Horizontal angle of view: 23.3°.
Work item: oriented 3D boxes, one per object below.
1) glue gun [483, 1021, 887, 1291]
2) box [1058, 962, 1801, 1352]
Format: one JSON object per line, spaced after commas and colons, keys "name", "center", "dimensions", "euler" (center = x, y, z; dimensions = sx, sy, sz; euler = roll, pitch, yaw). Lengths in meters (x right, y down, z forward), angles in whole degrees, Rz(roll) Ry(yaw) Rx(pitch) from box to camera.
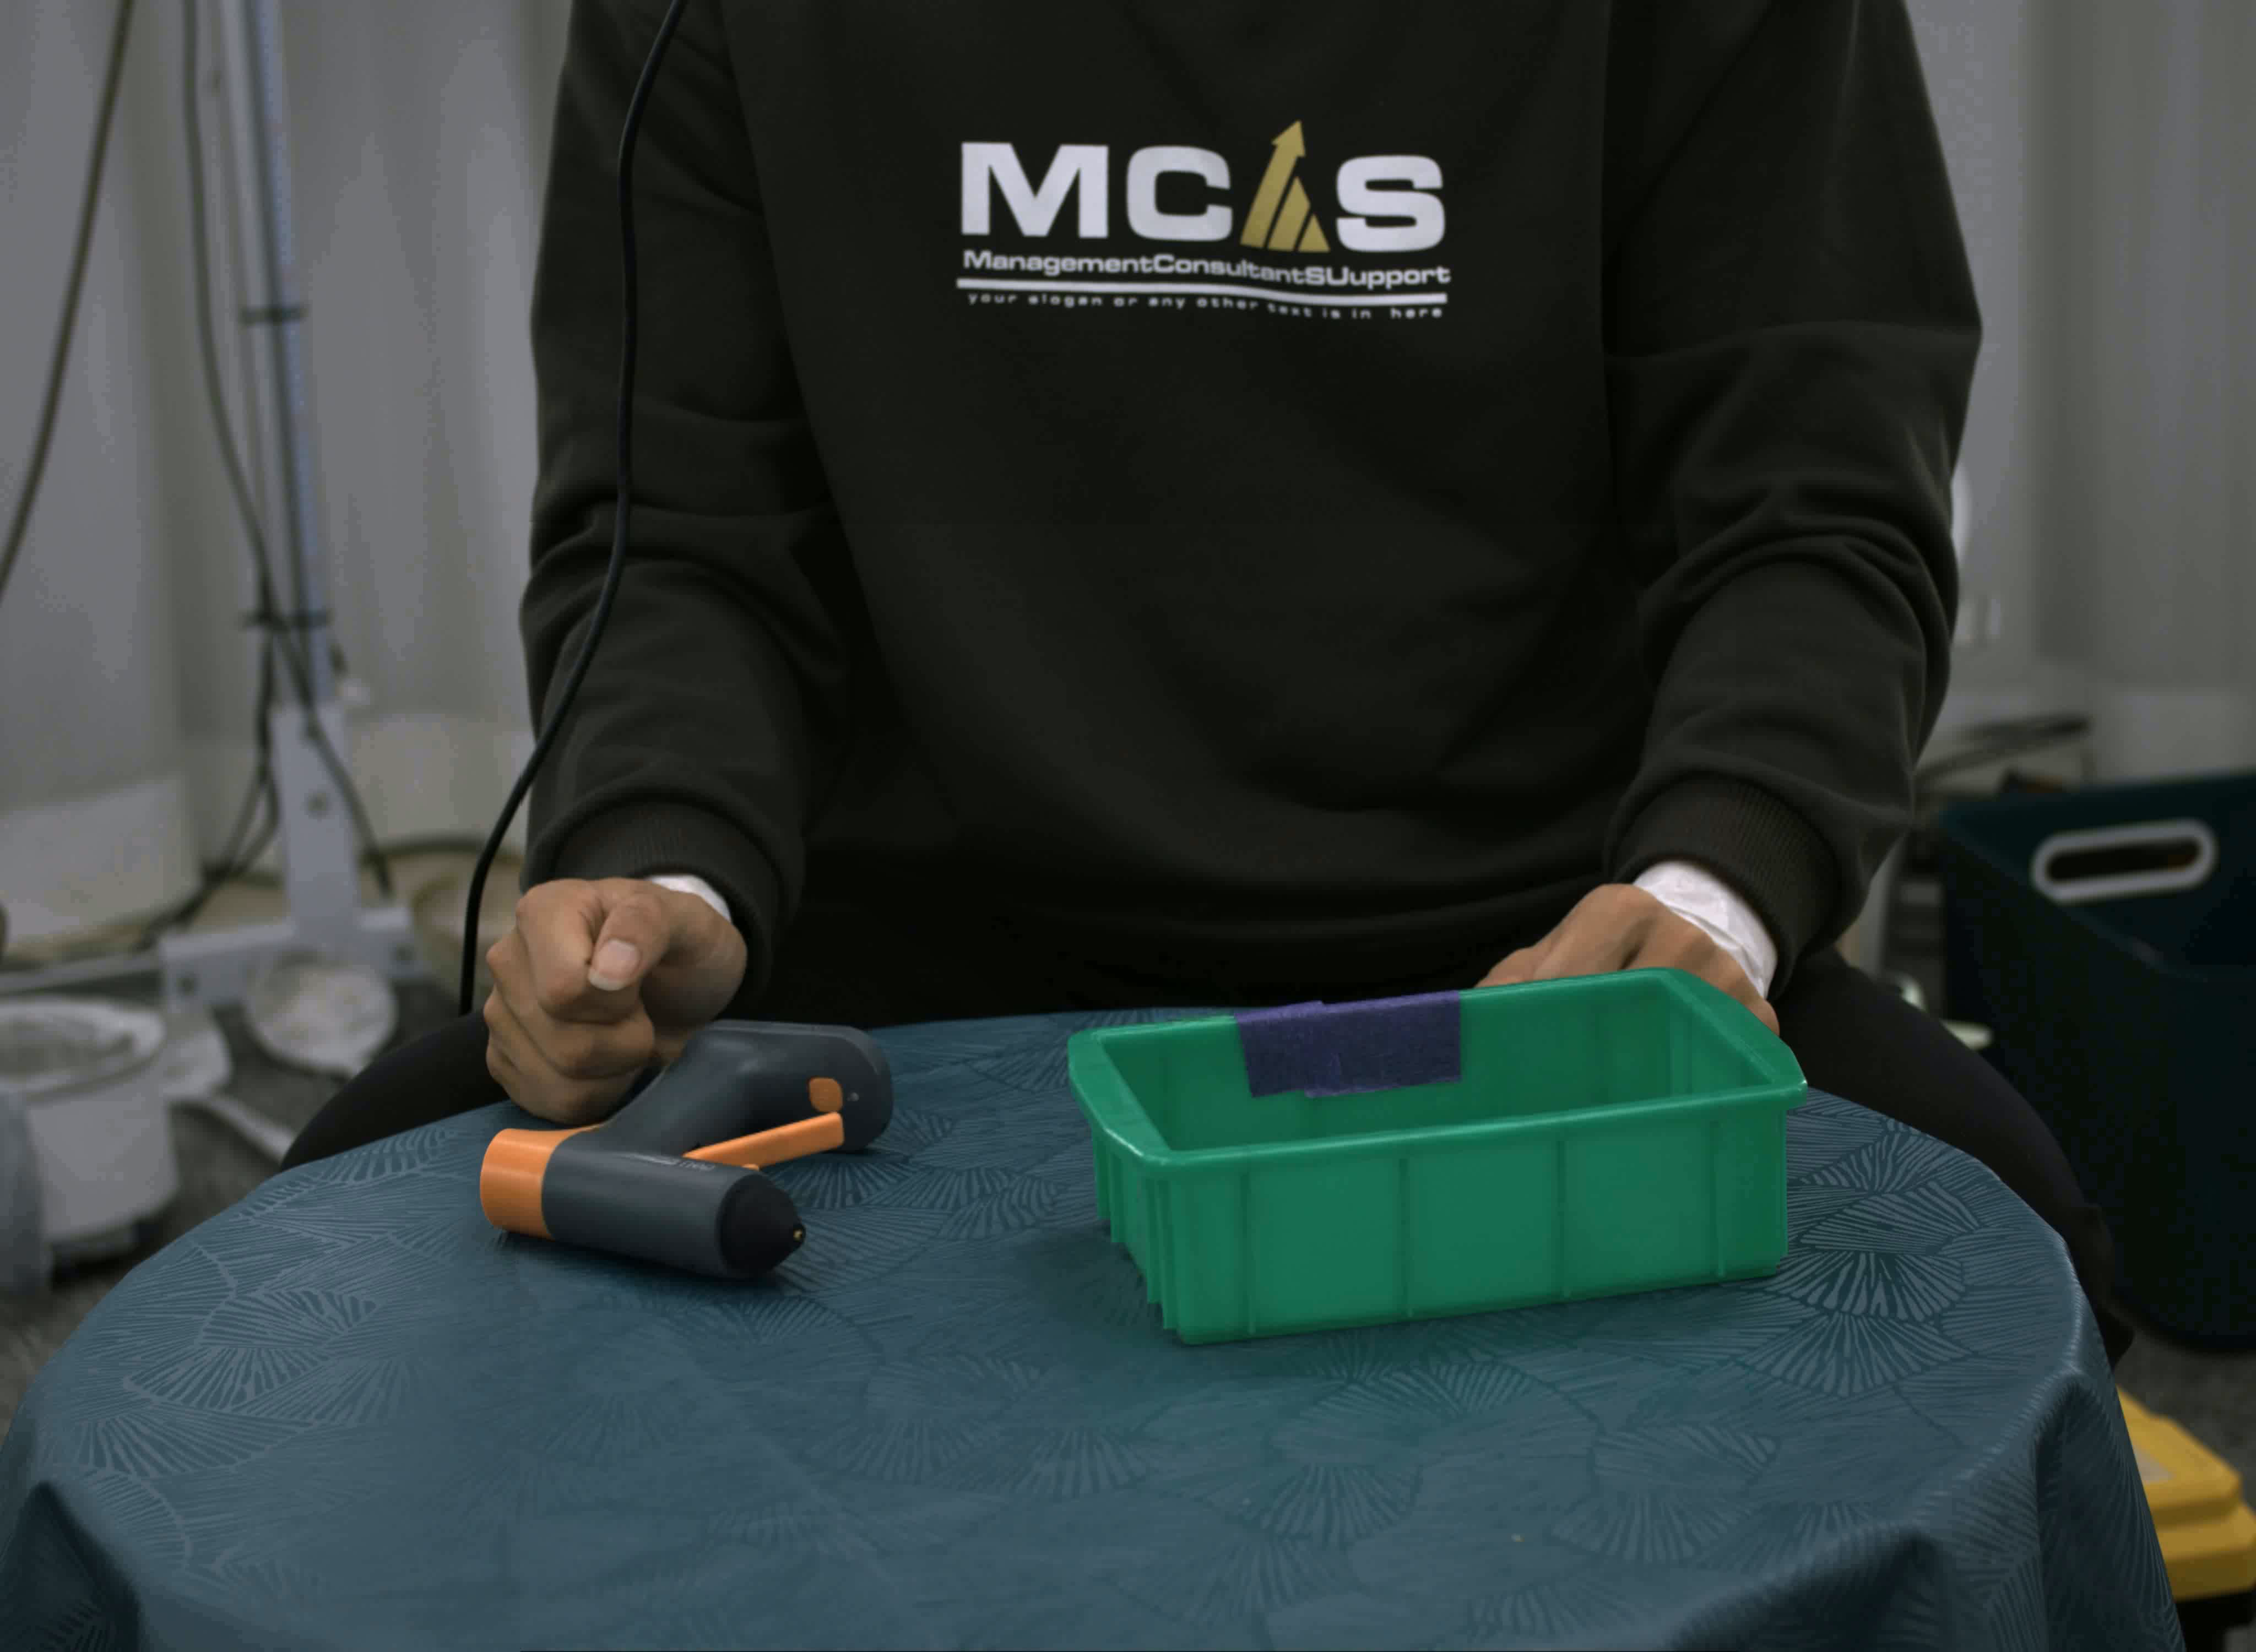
{"name": "glue gun", "center": [-0.129, 0.105, 1.715], "dimensions": [0.118, 0.041, 0.140], "euler": [5, 19, 20]}
{"name": "box", "center": [0.089, 0.099, 1.640], "dimensions": [0.209, 0.065, 0.139], "euler": [-8, 14, -11]}
